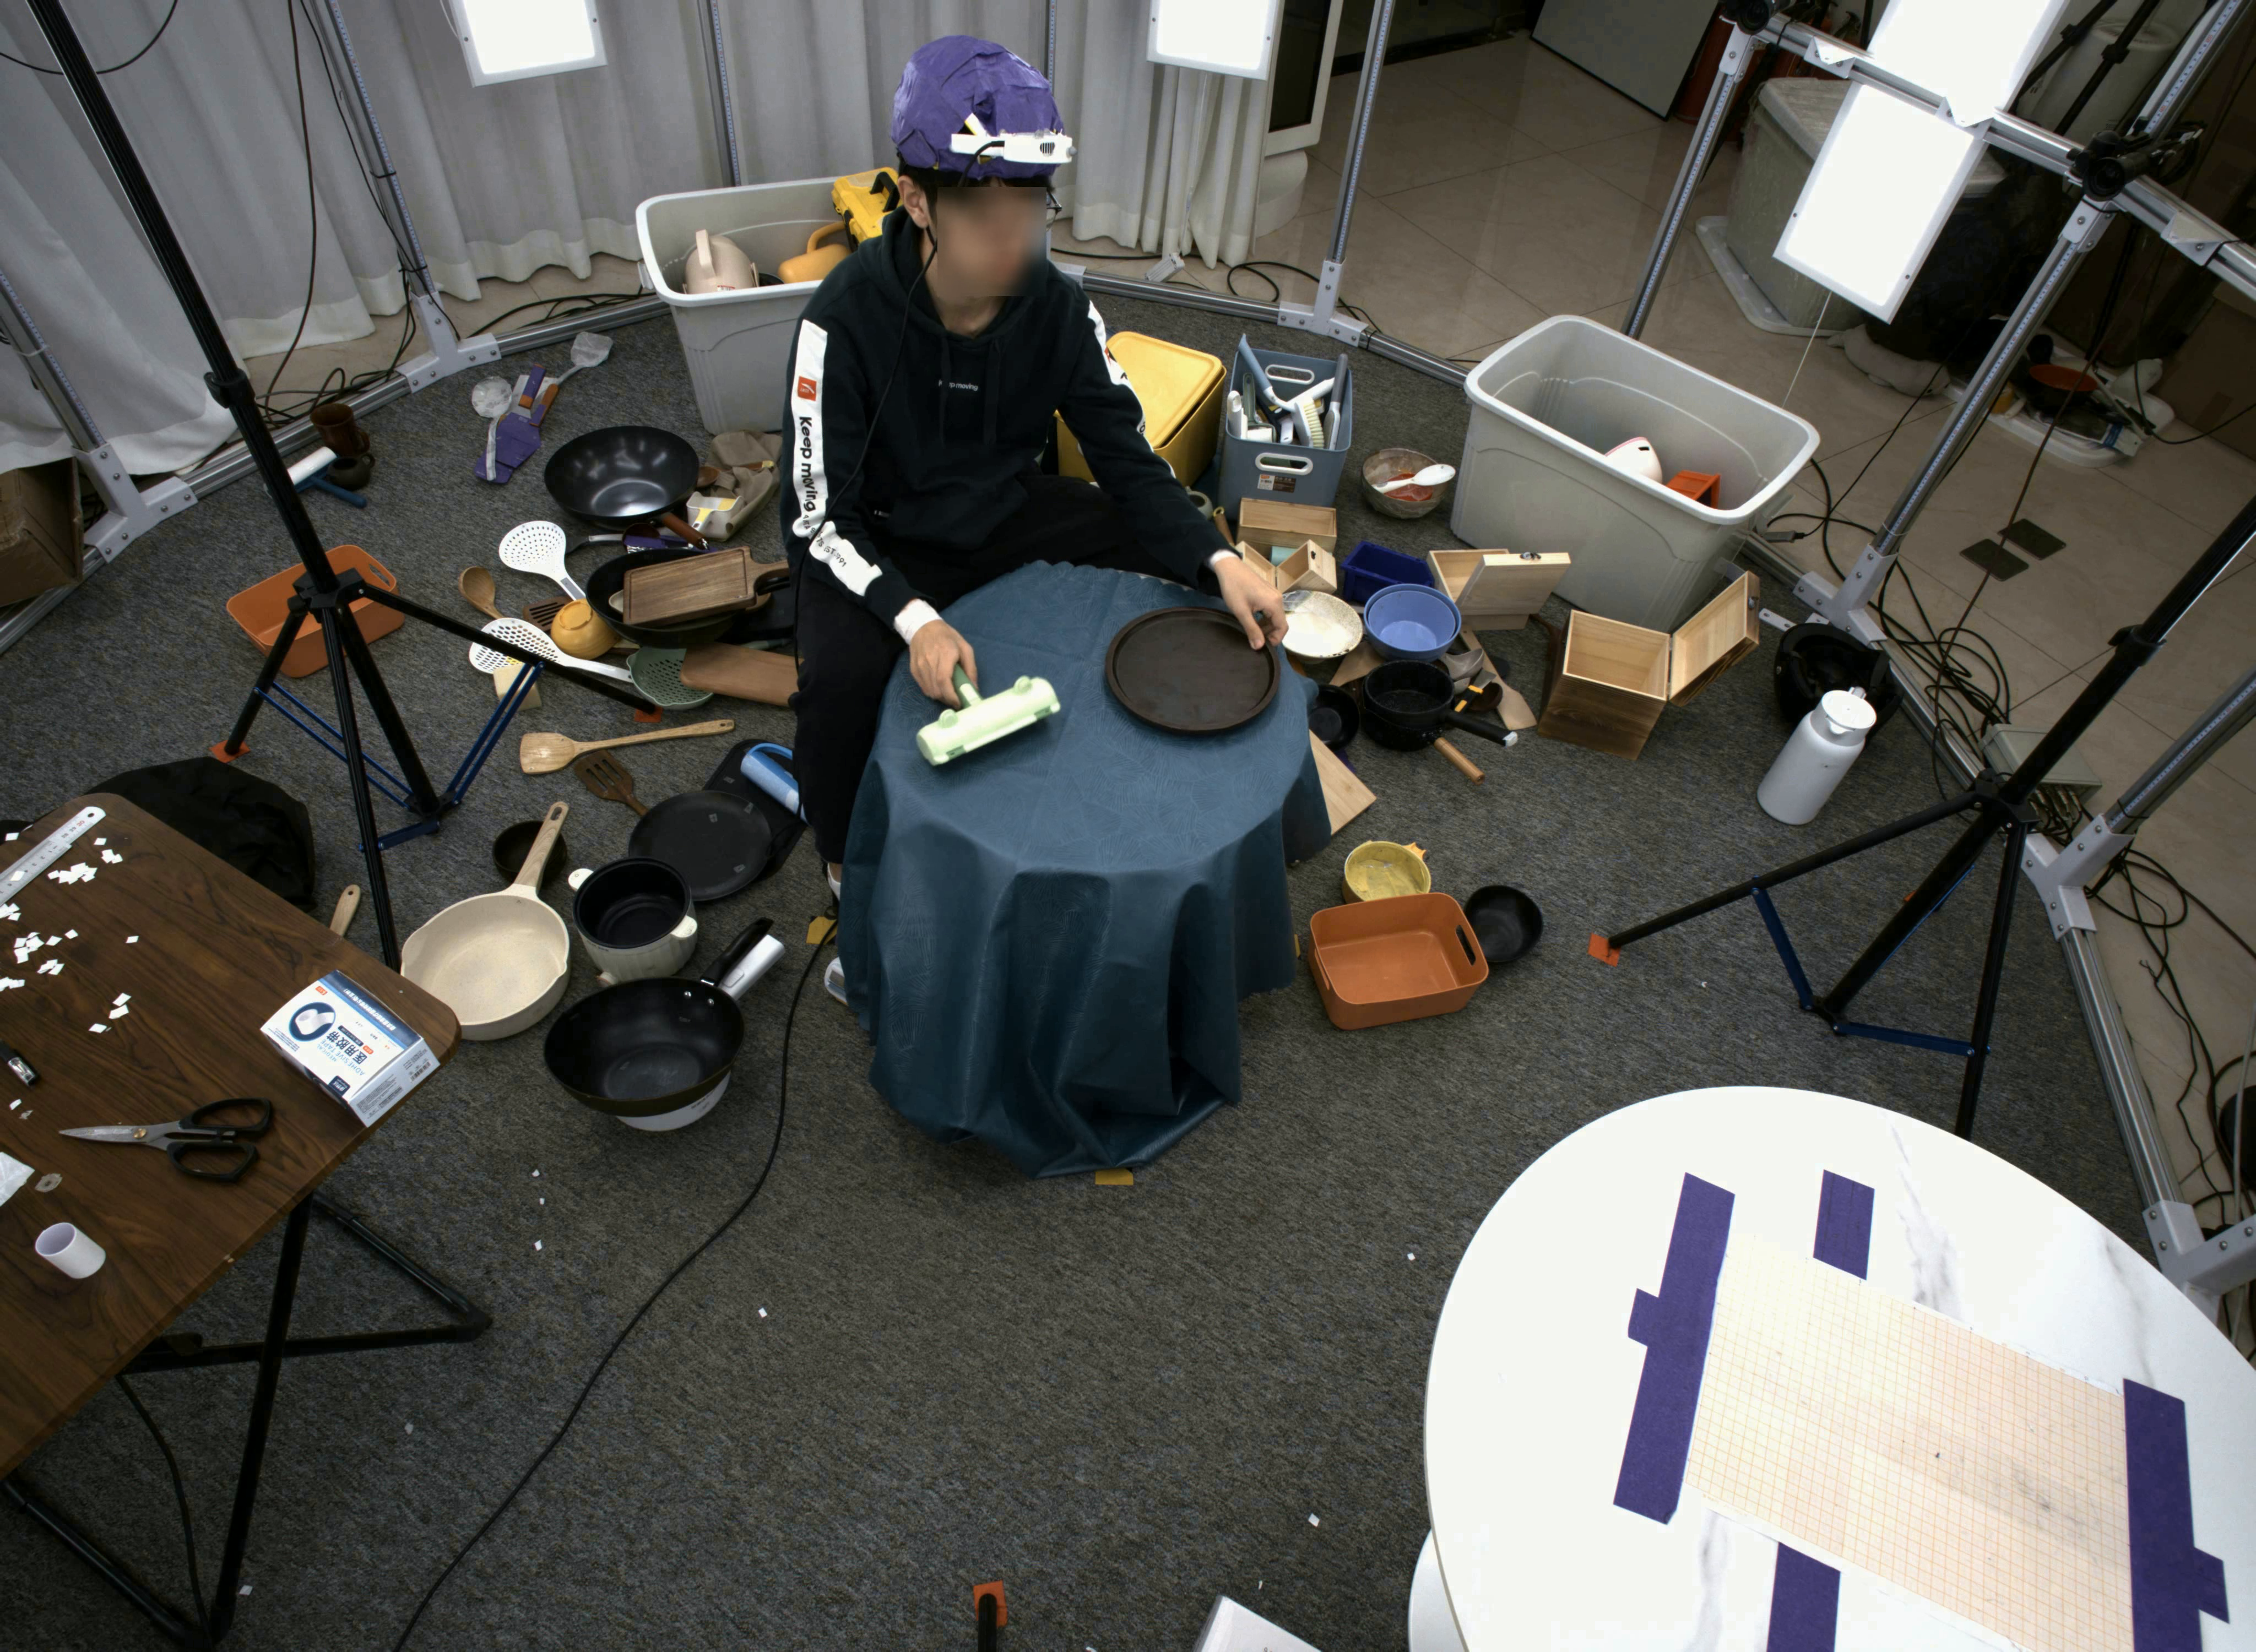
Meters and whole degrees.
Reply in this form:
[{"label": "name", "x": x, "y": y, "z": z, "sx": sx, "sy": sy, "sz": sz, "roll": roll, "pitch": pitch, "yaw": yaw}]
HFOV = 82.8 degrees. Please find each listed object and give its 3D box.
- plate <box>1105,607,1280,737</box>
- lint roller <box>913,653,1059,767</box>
[{"label": "plate", "x": 0.093, "y": -0.223, "z": 1.848, "sx": 0.254, "sy": 0.028, "sz": 0.261, "roll": 0, "pitch": 50, "yaw": 0}, {"label": "lint roller", "x": -0.220, "y": -0.185, "z": 1.749, "sx": 0.199, "sy": 0.080, "sz": 0.186, "roll": -25, "pitch": 66, "yaw": -22}]
